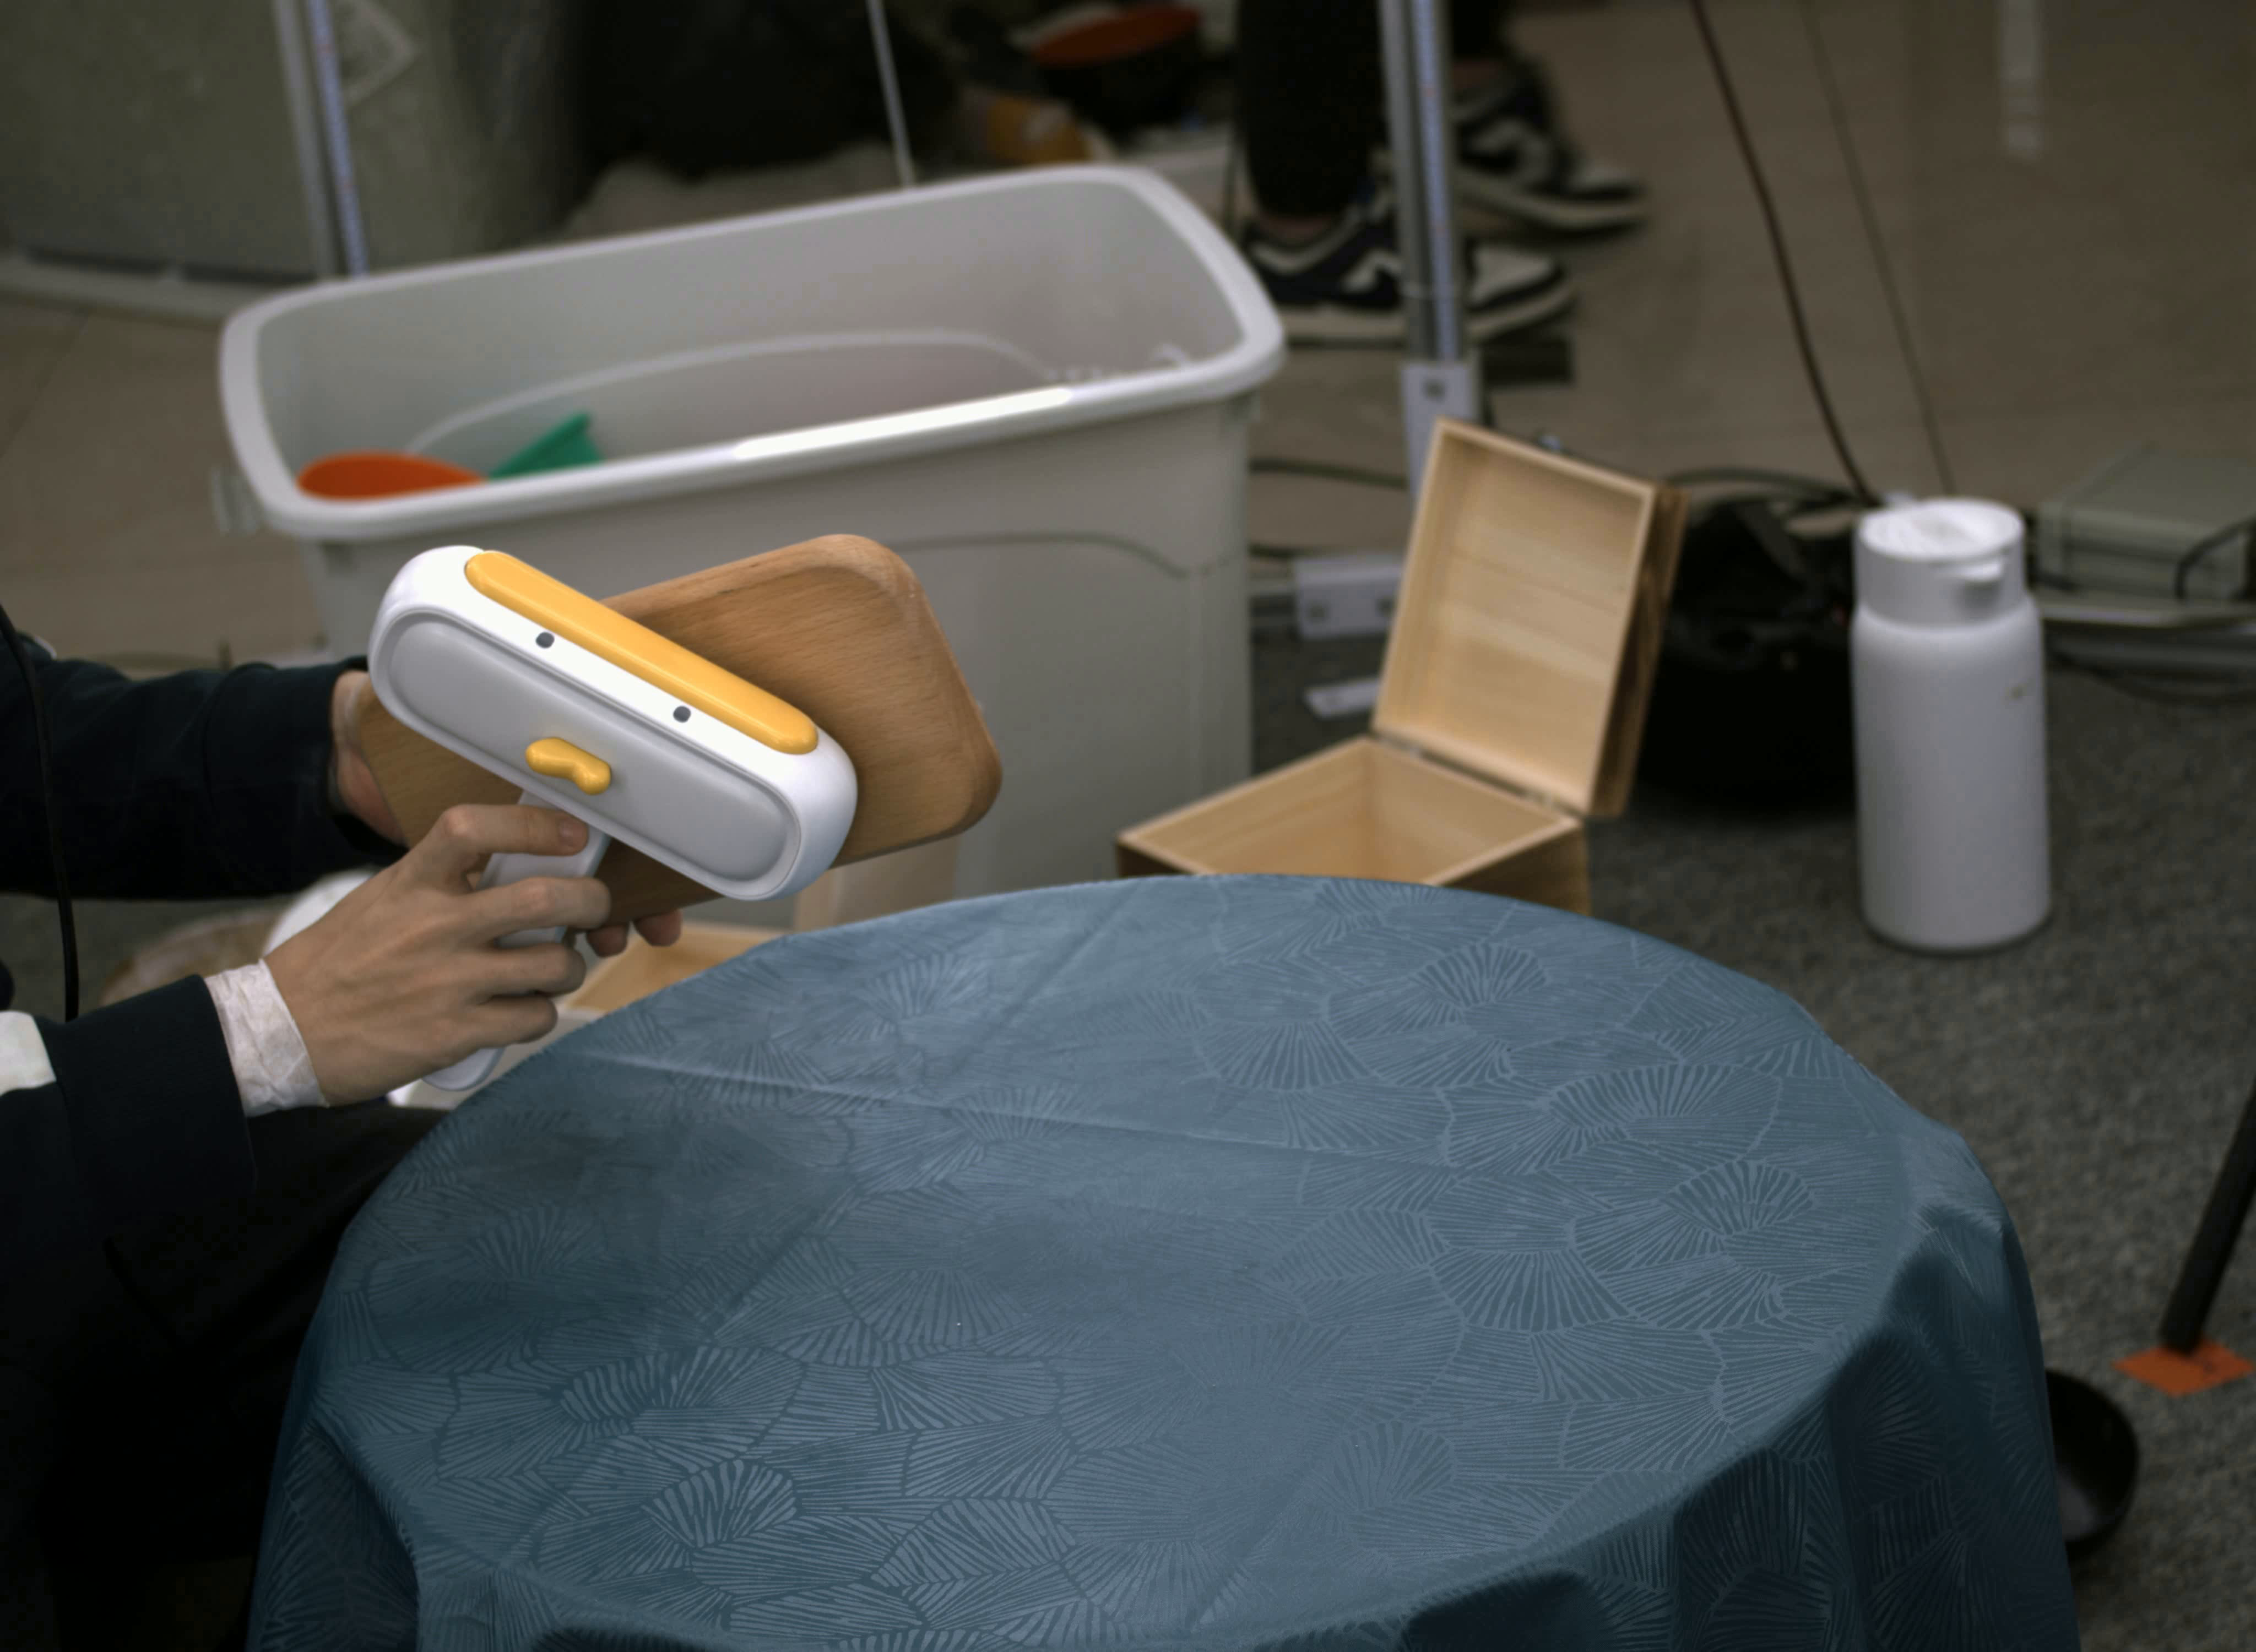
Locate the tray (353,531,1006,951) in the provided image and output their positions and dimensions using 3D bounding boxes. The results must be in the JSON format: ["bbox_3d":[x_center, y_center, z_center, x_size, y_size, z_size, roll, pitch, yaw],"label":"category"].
[{"bbox_3d":[-0.172,-0.028,2.131,0.251,0.132,0.022,-16,21,25],"label":"tray"}]

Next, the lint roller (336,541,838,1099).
[{"bbox_3d":[-0.220,0.011,2.106,0.192,0.195,0.073,22,27,-1],"label":"lint roller"}]
